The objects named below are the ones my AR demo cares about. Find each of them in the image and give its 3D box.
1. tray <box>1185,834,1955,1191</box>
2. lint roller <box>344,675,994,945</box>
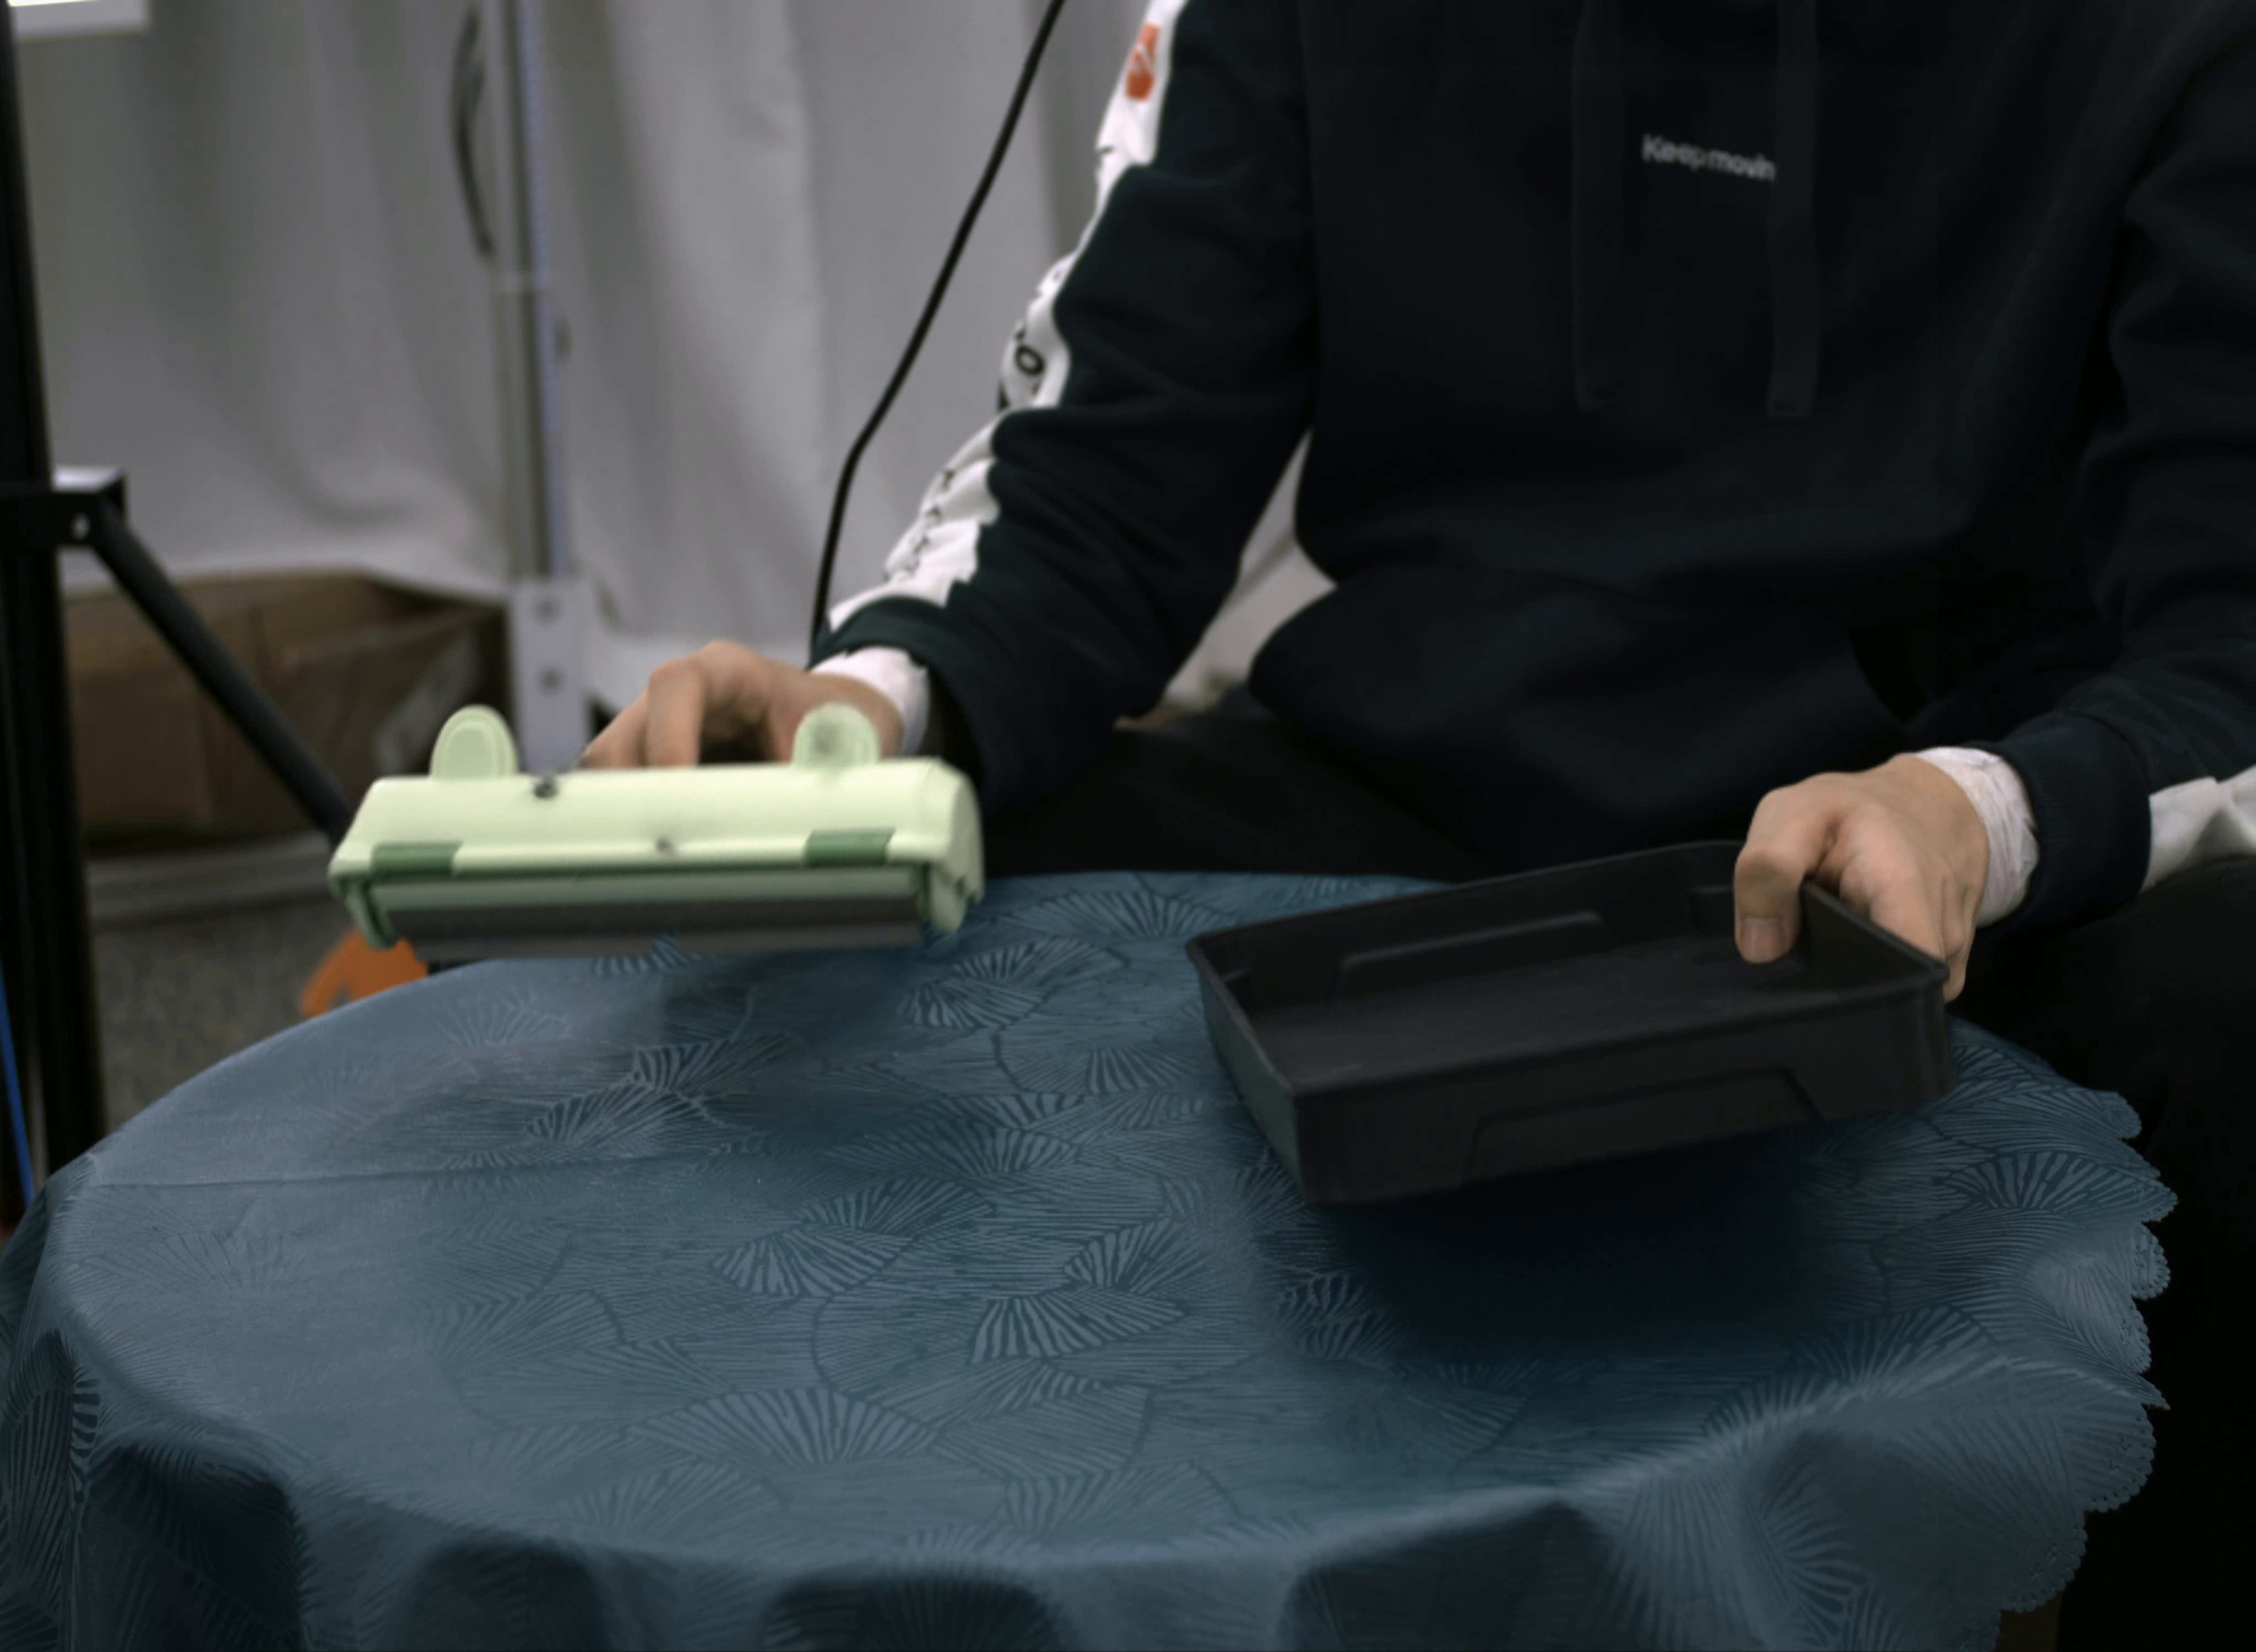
[{"bbox_3d":[0.120,0.050,1.538,0.183,0.037,0.319,-10,6,-2],"label":"tray"},{"bbox_3d":[-0.134,-0.017,1.702,0.199,0.082,0.182,-3,16,11],"label":"lint roller"}]
